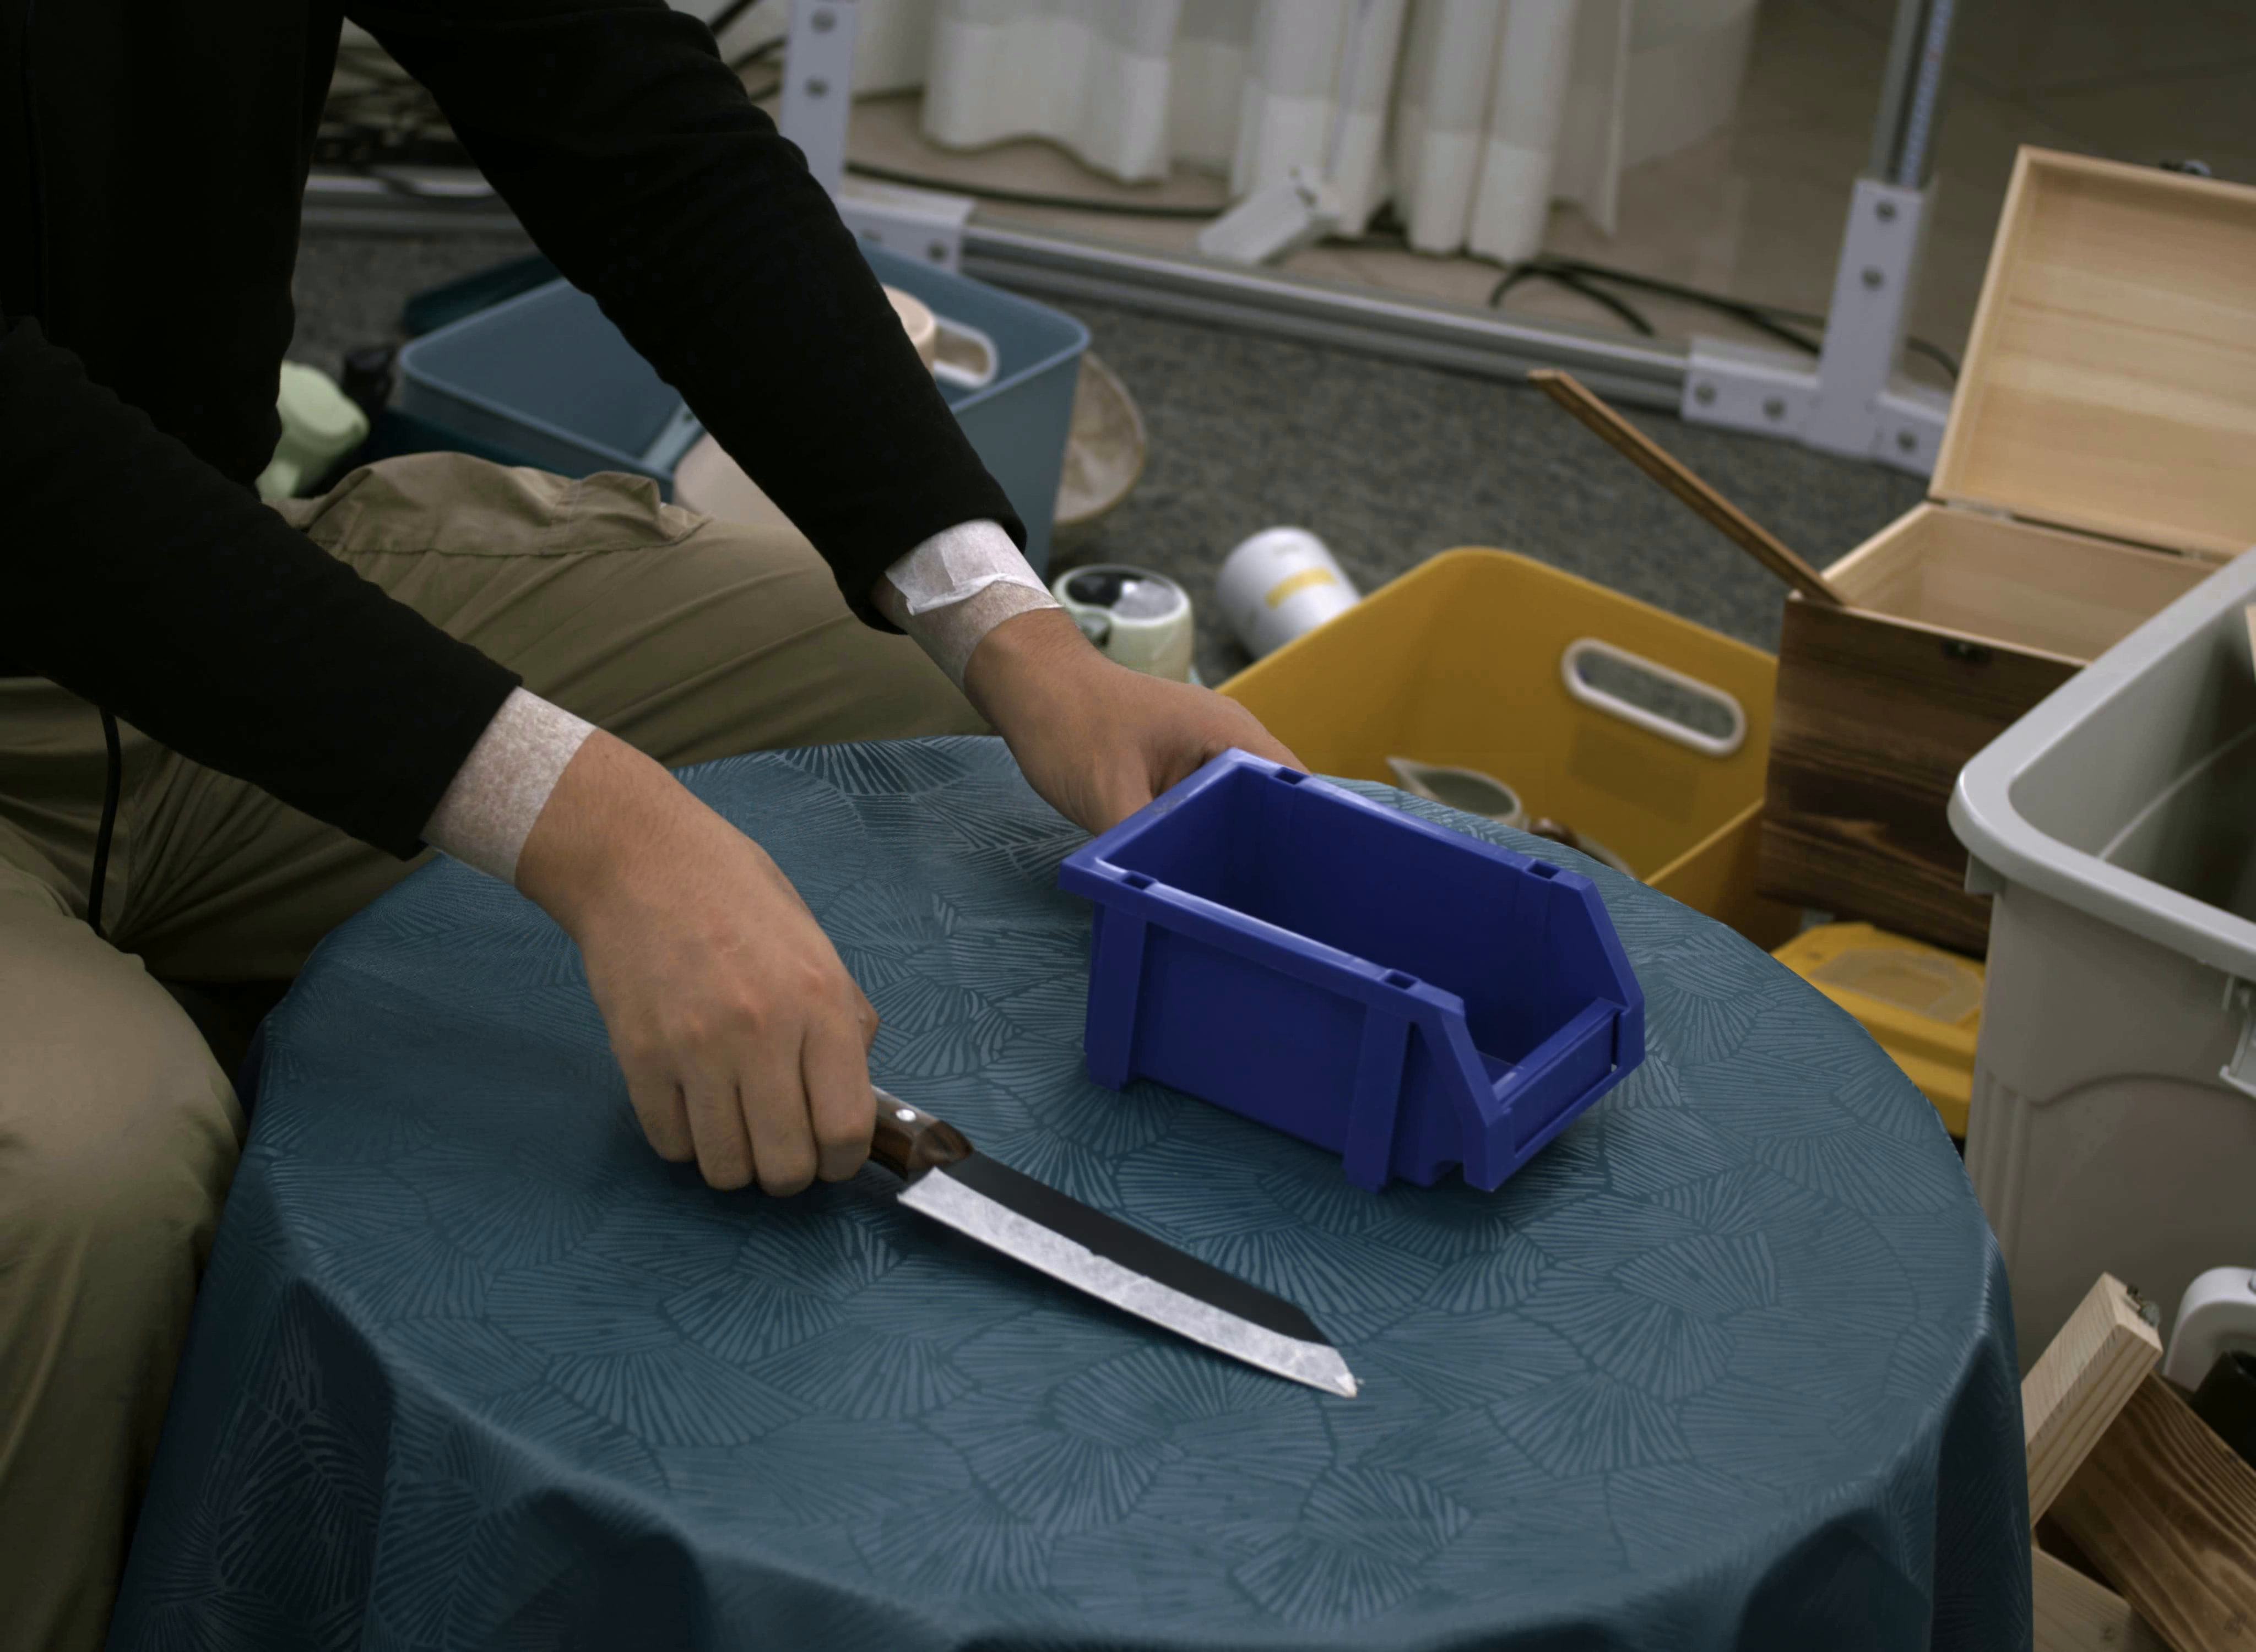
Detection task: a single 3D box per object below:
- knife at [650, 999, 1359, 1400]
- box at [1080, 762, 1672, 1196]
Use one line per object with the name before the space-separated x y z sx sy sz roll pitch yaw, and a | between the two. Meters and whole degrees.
knife | -0.045 0.125 1.763 0.290 0.020 0.050 26 36 24
box | 0.088 0.057 1.863 0.180 0.081 0.124 19 29 28
